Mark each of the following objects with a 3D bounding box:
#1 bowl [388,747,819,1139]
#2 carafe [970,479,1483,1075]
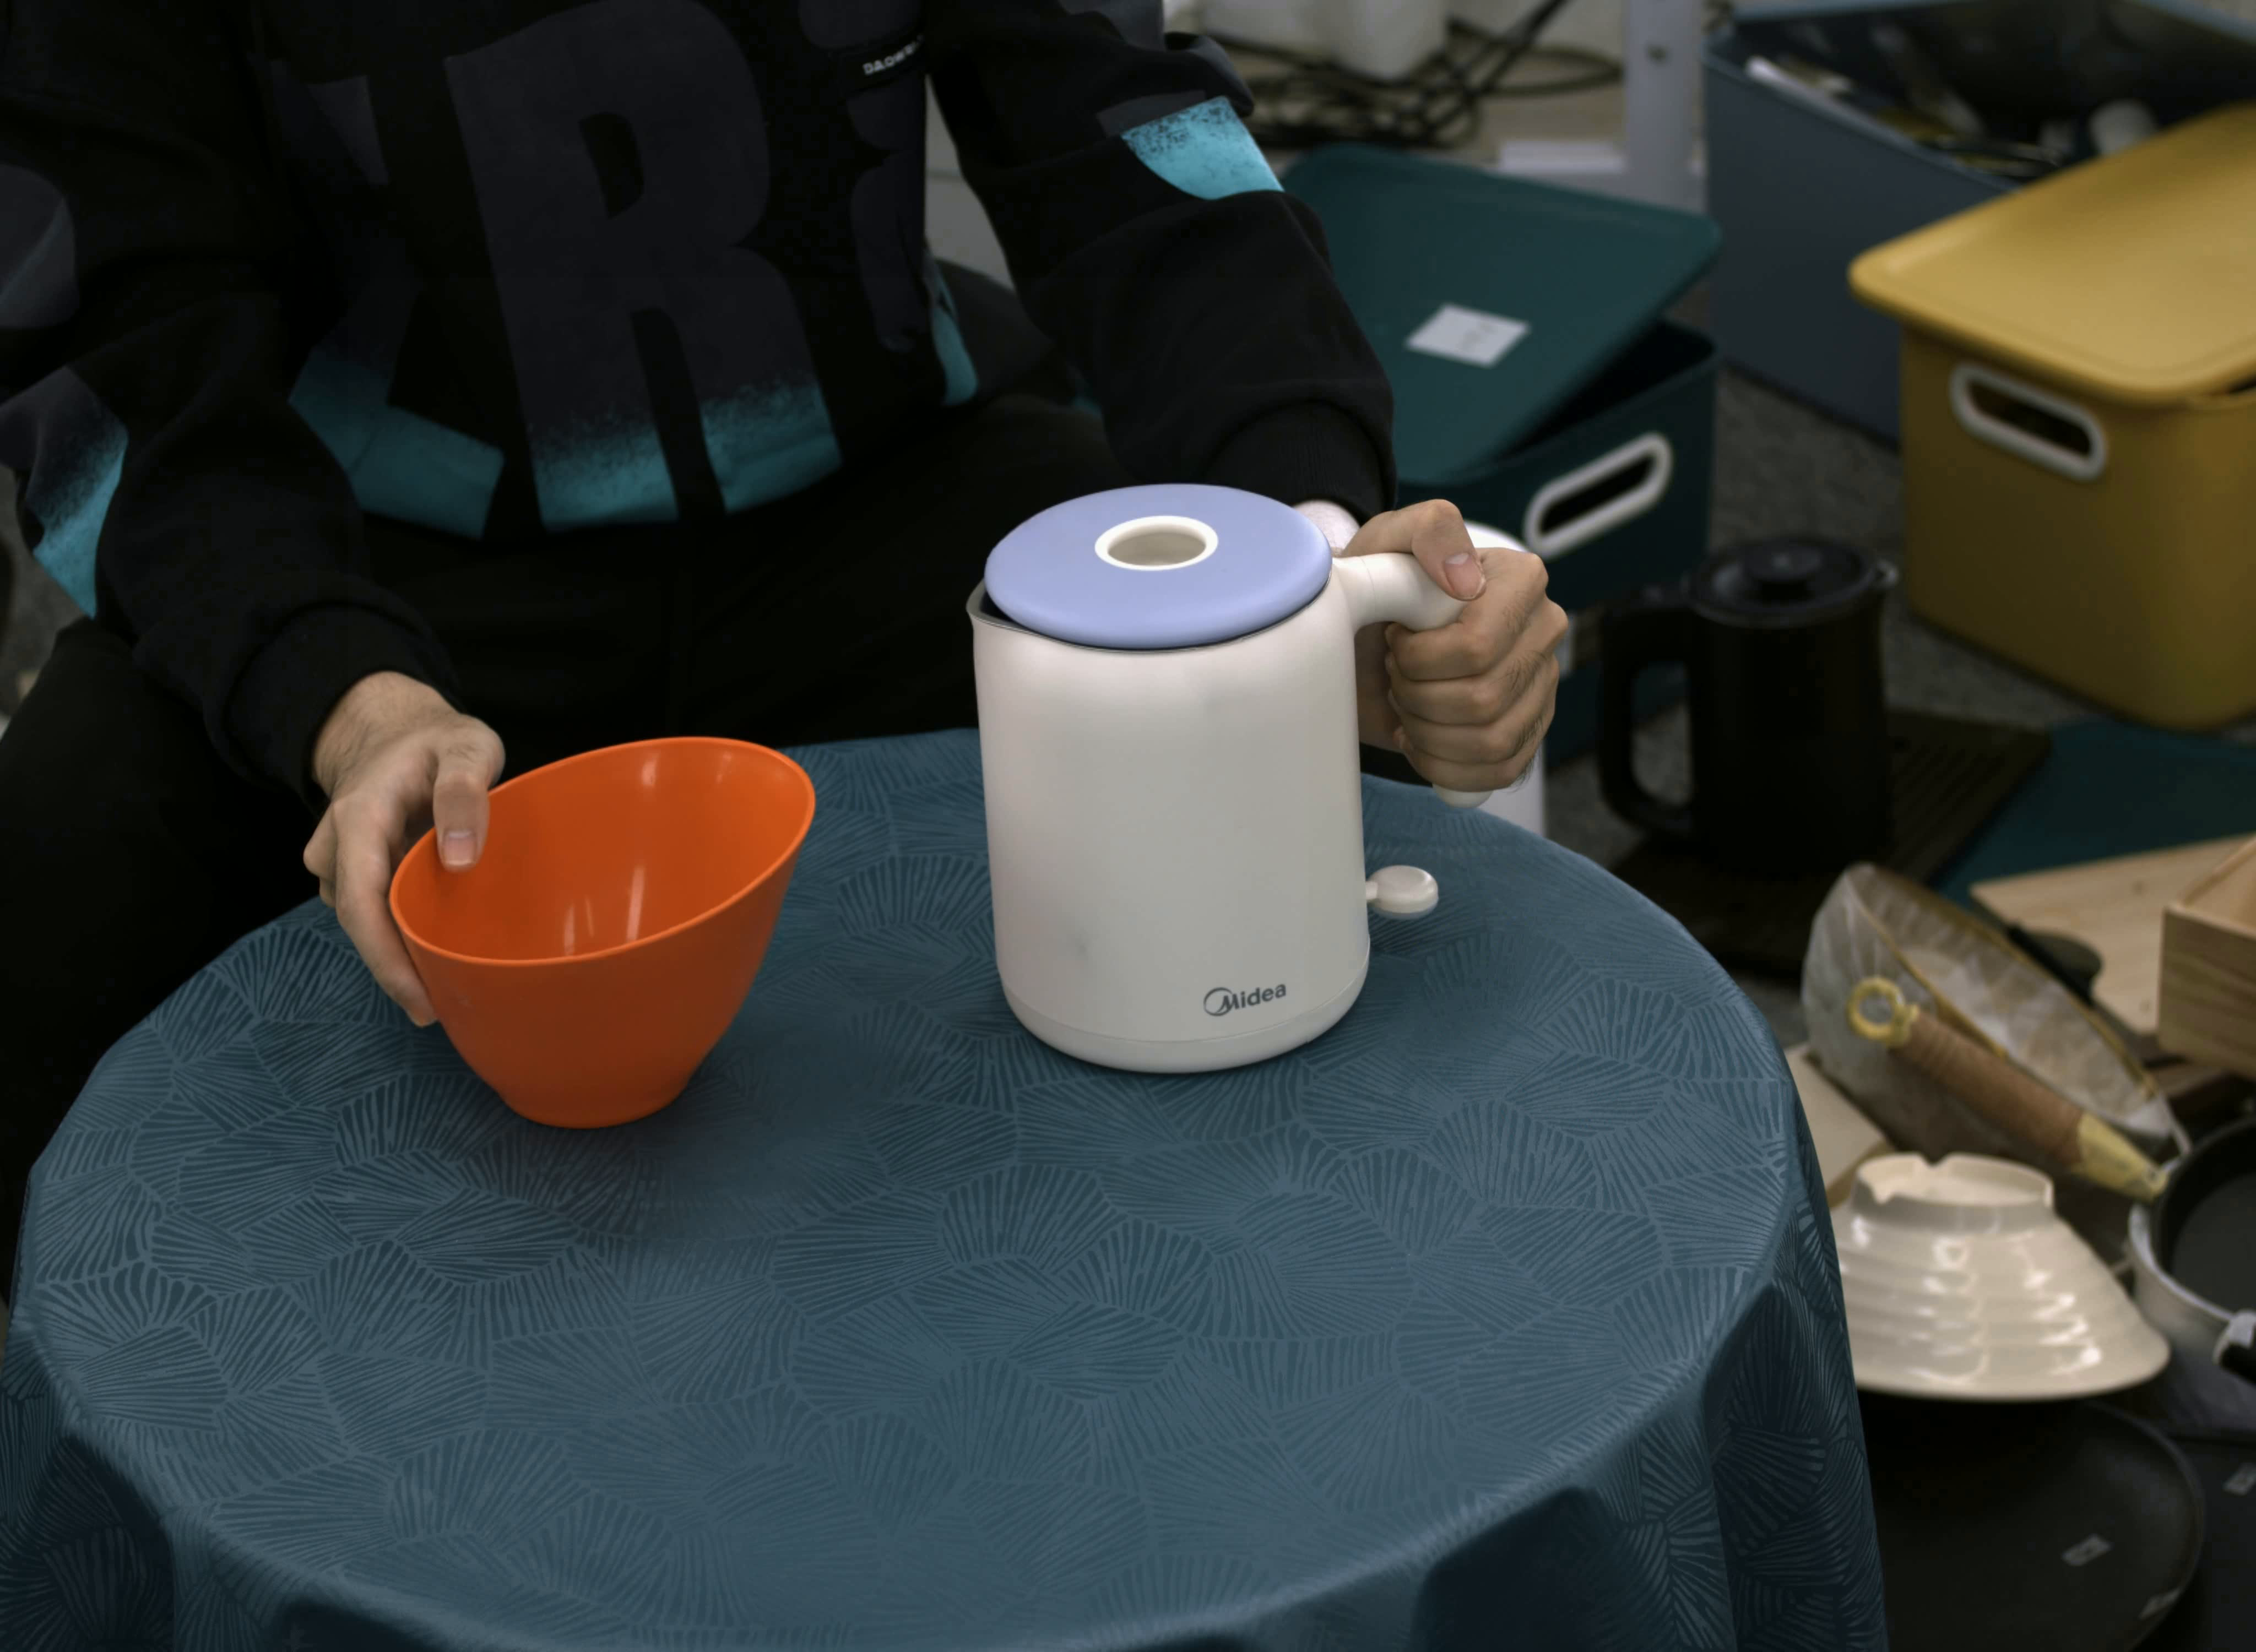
[{"bbox_3d":[-0.176,0.046,1.916,0.147,0.103,0.150,-1,27,1],"label":"bowl"},{"bbox_3d":[0.037,-0.022,1.950,0.191,0.180,0.133,-11,29,-19],"label":"carafe"}]
